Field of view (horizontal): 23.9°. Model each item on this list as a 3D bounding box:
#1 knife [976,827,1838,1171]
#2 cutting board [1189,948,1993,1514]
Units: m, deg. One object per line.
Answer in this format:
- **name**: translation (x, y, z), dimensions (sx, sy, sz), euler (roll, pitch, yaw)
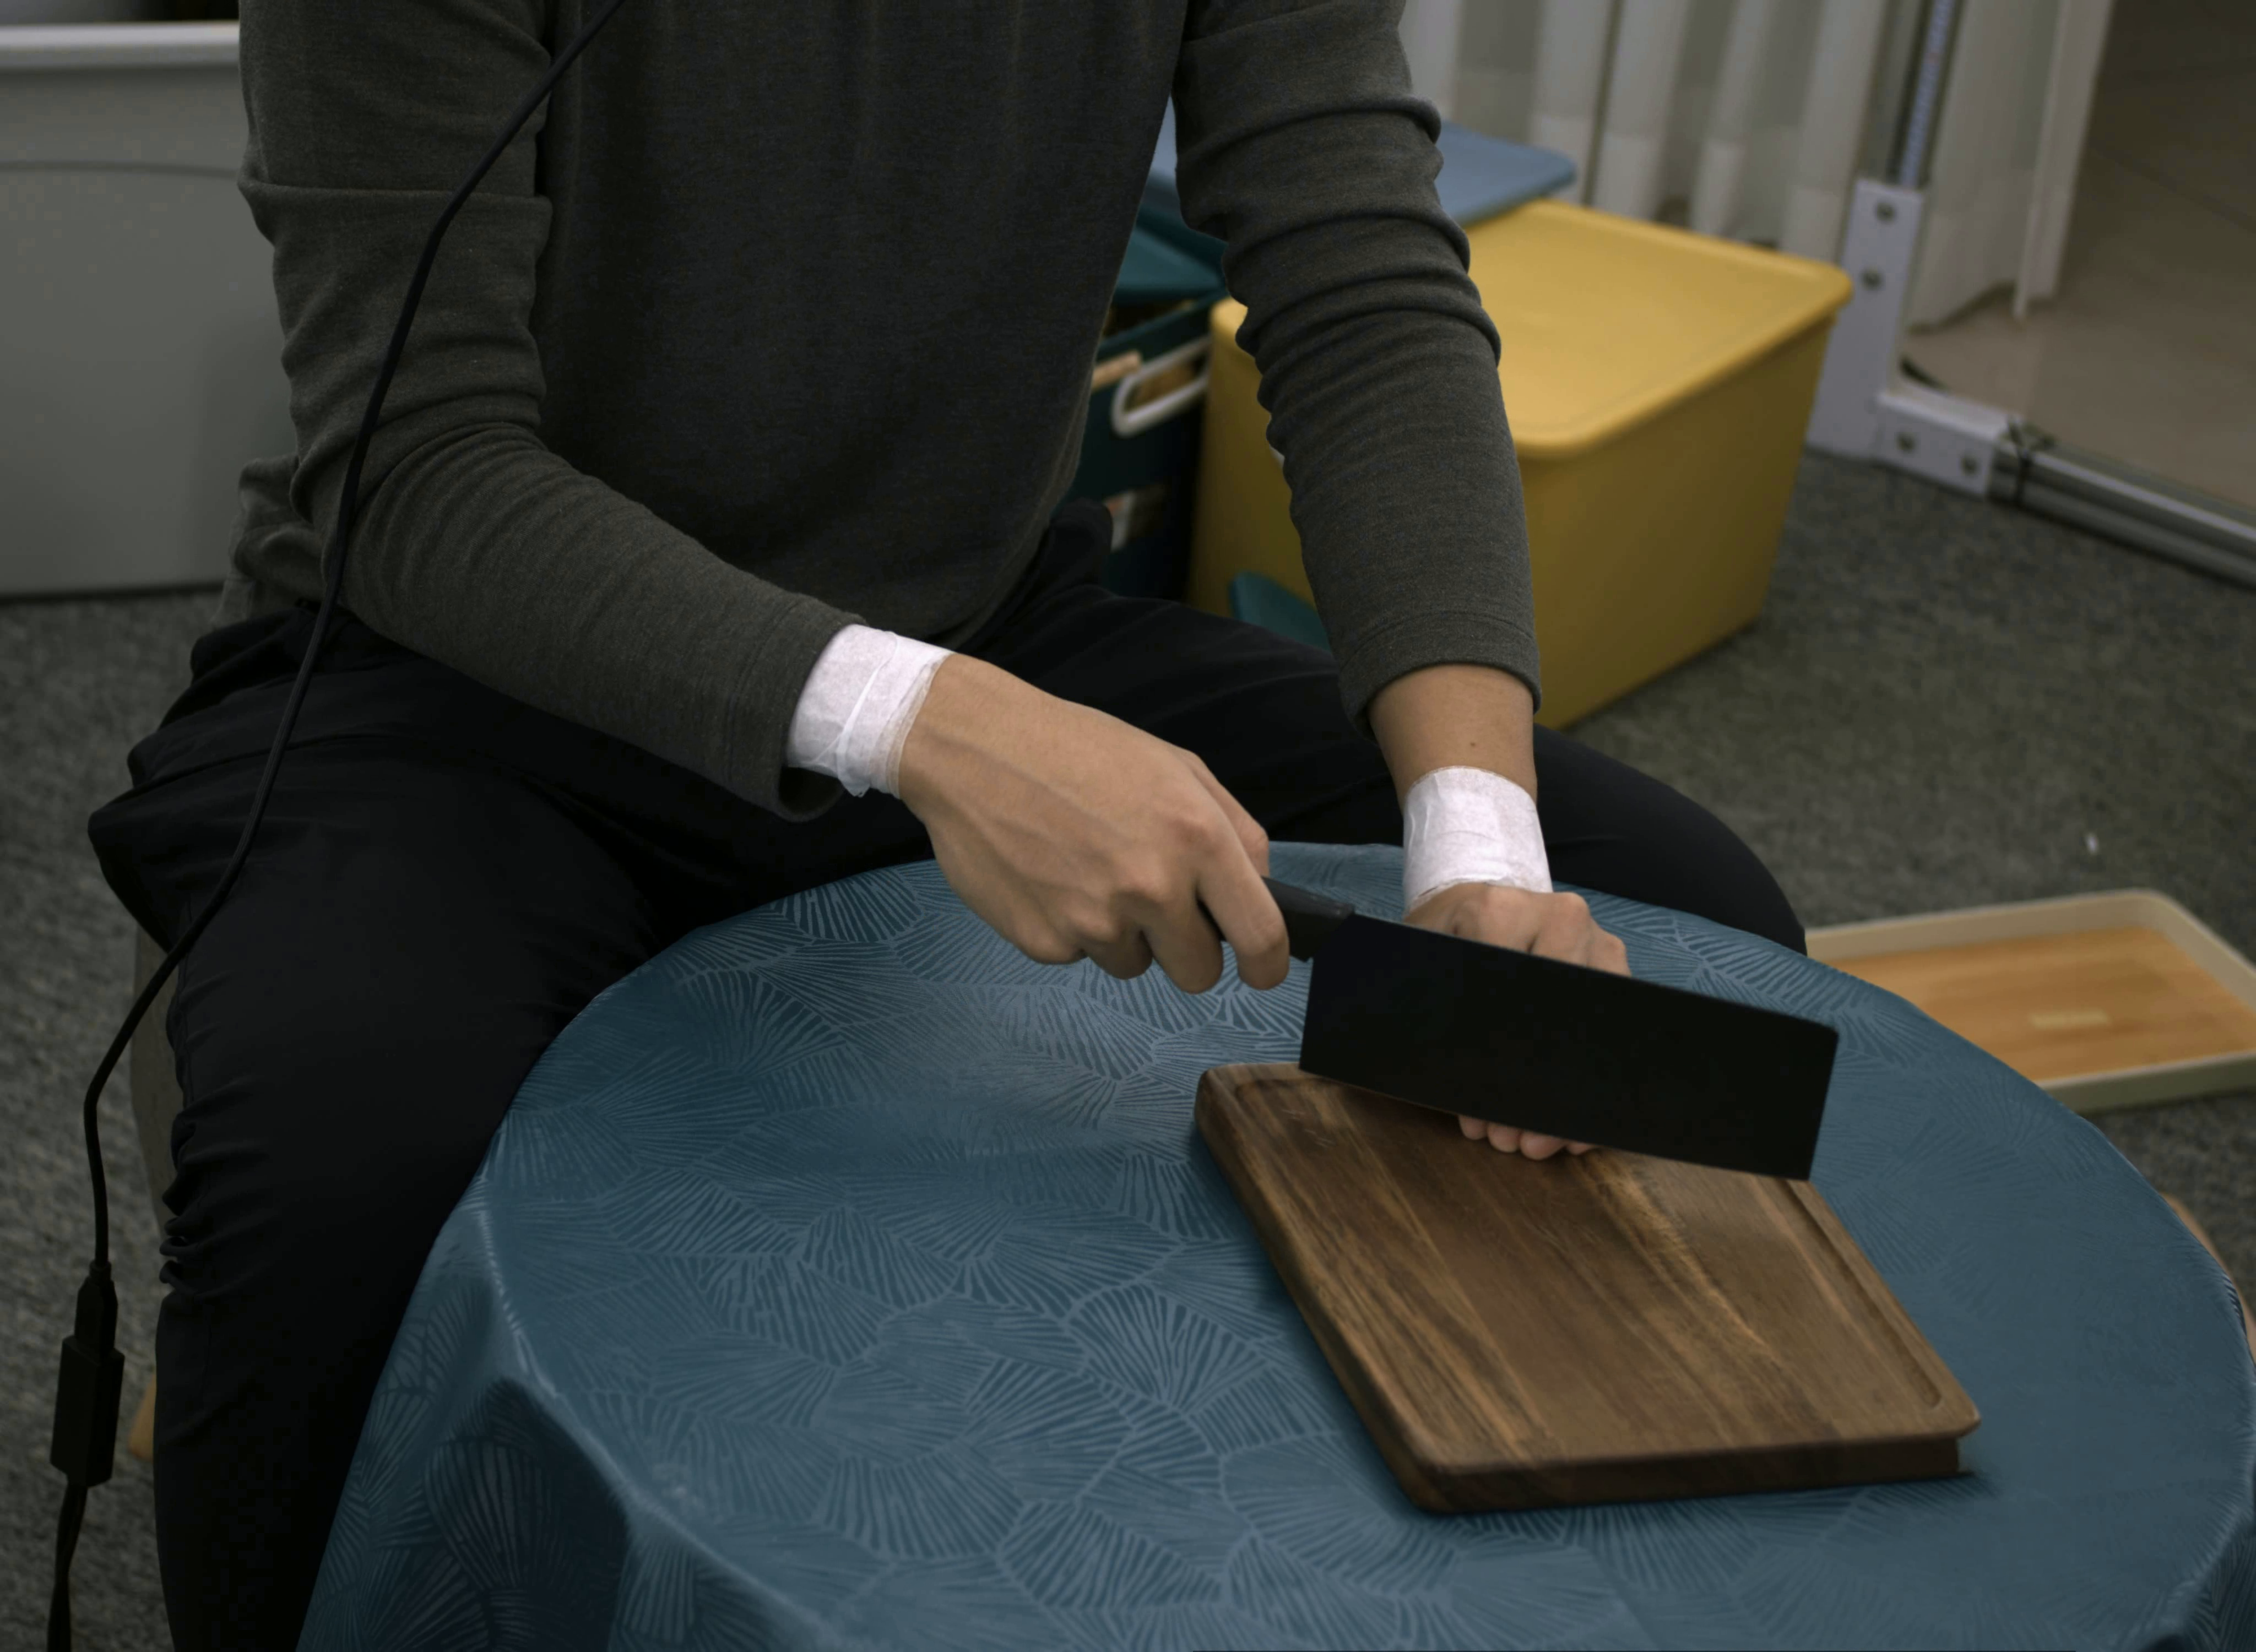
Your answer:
- **knife**: translation (0.092, 0.056, 1.811), dimensions (0.302, 0.081, 0.021), euler (17, 25, 11)
- **cutting board**: translation (0.135, 0.122, 1.815), dimensions (0.200, 0.023, 0.355), euler (-2, 28, -17)
